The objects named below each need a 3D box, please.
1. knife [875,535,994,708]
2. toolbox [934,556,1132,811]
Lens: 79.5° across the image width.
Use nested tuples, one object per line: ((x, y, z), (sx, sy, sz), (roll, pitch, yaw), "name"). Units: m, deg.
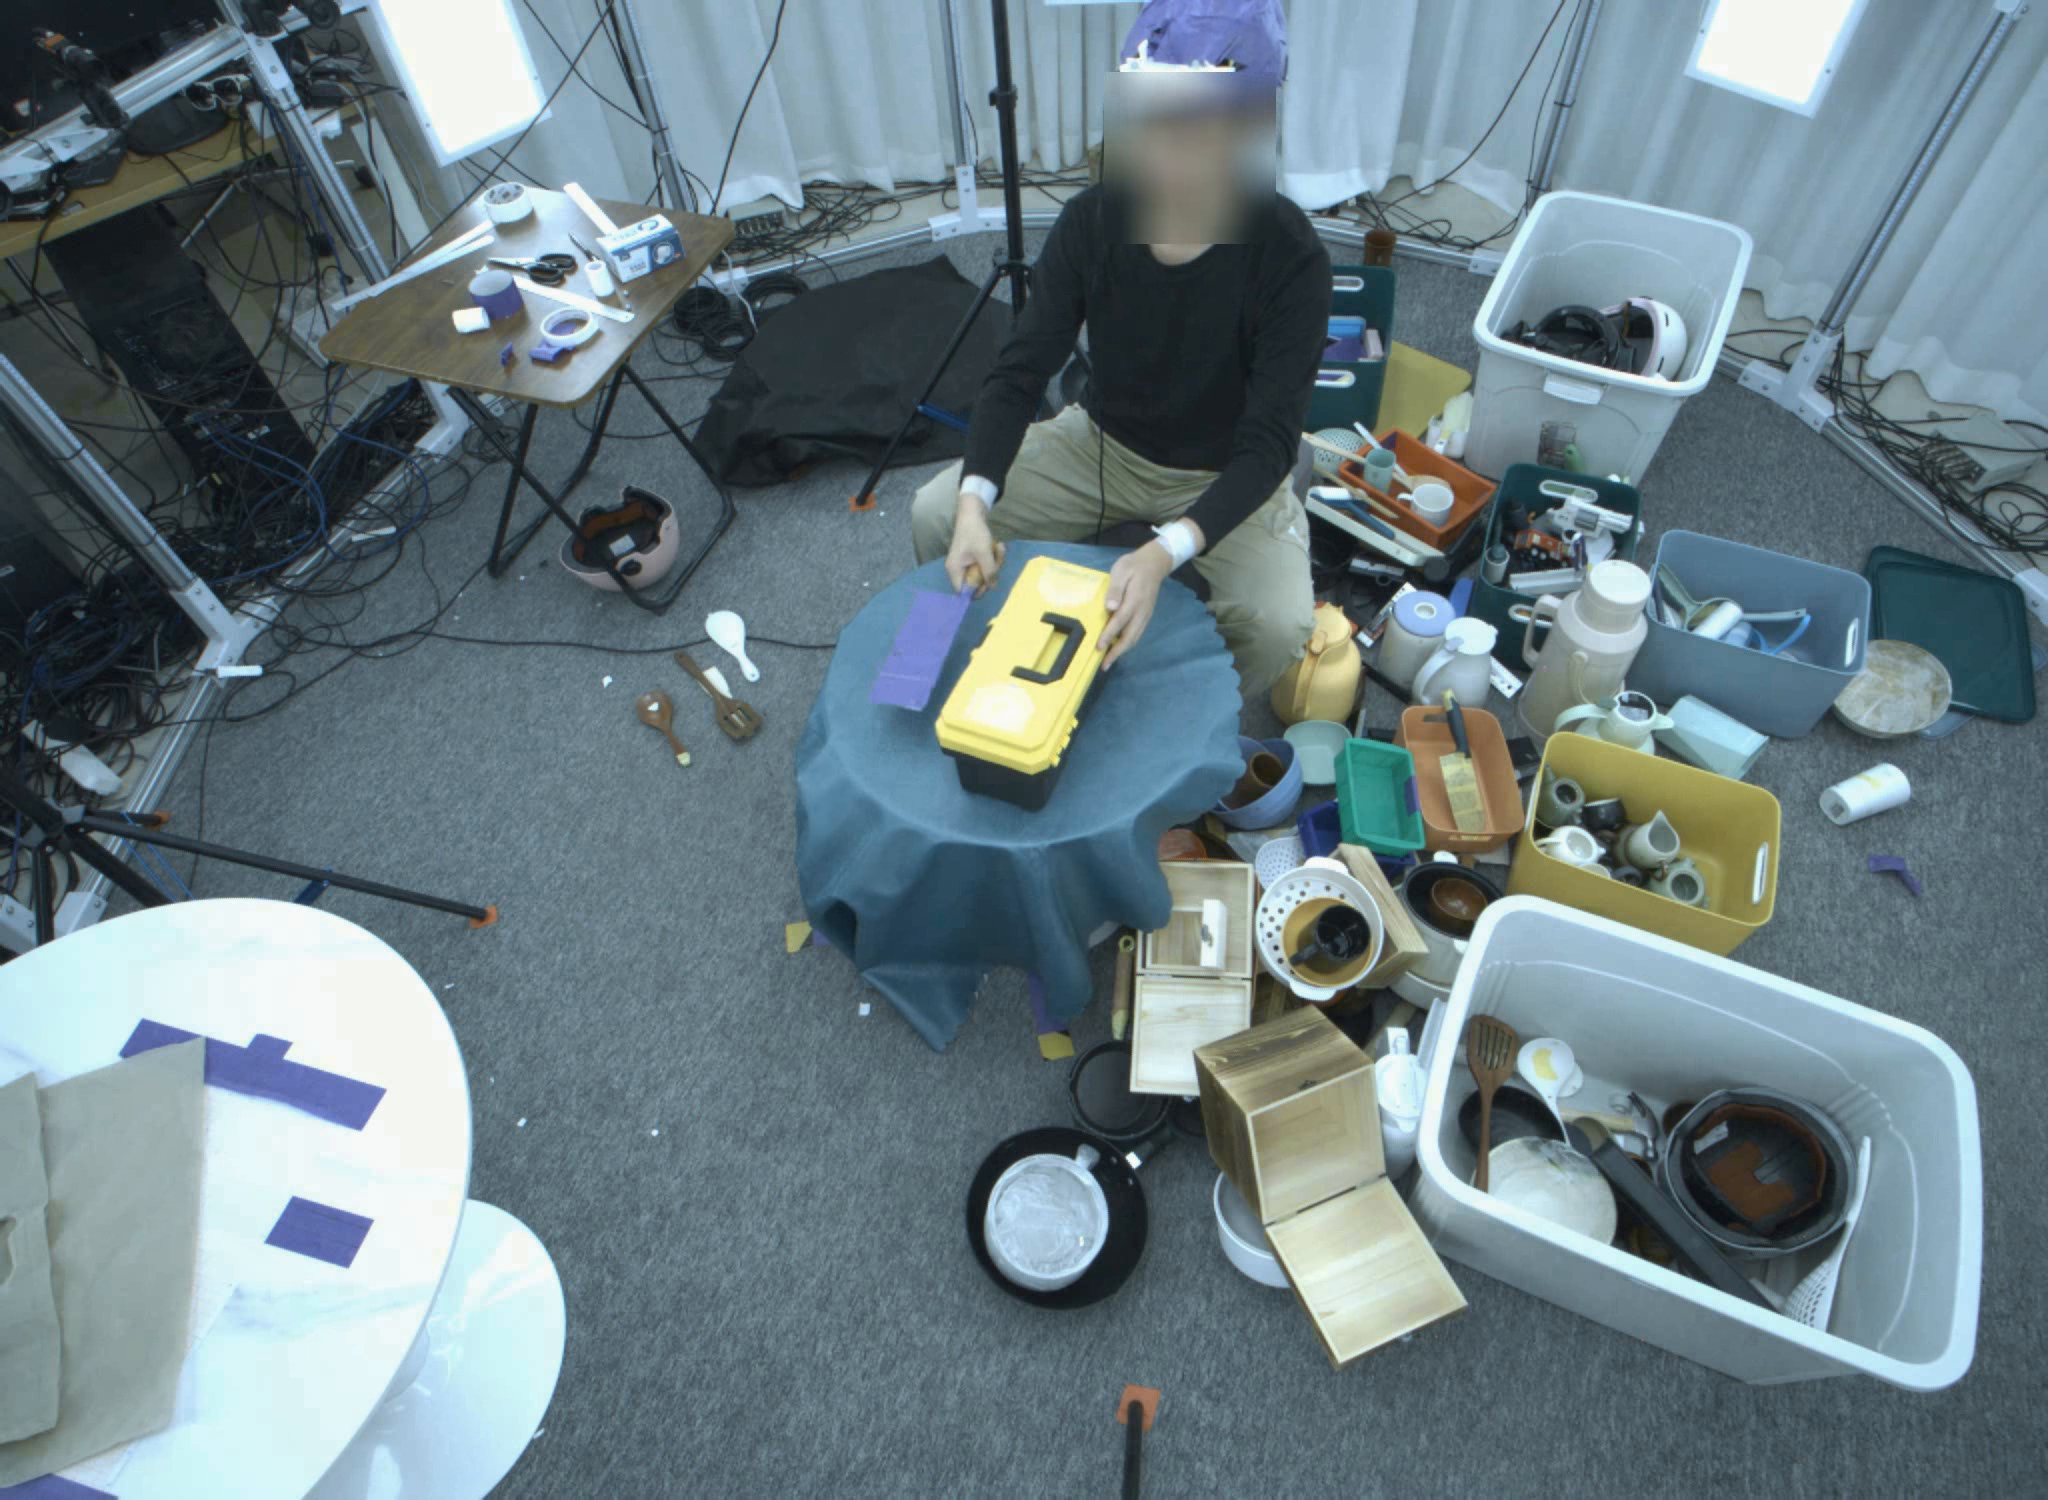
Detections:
((-0.135, -0.197, 1.813), (0.102, 0.032, 0.314), (11, 60, 18), "knife")
((0.019, -0.095, 1.748), (0.179, 0.174, 0.351), (18, 57, 15), "toolbox")
